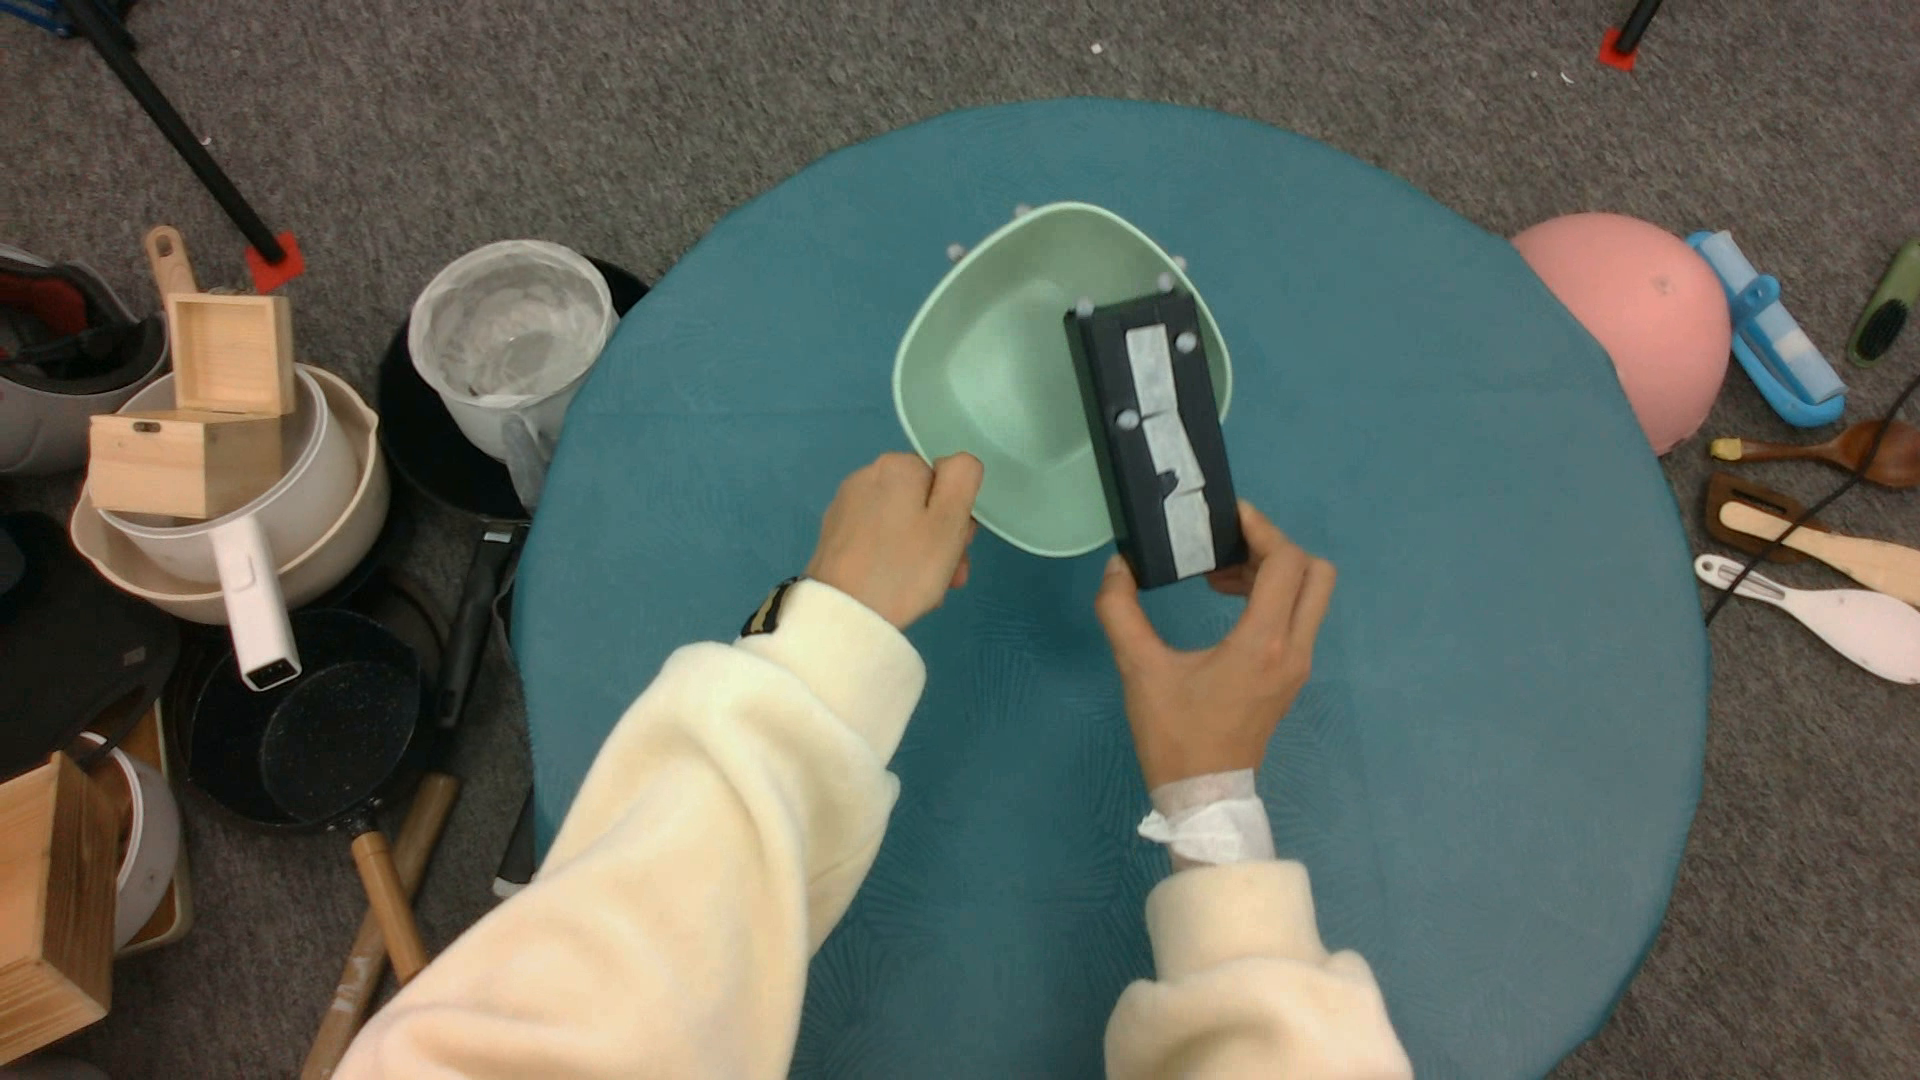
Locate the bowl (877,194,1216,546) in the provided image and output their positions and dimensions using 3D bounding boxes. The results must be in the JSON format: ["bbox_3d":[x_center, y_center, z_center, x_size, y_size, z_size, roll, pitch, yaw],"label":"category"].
[{"bbox_3d":[0.034,-0.076,0.618,0.151,0.058,0.151,-2,101,-12],"label":"bowl"}]

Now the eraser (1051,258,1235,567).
[{"bbox_3d":[0.078,-0.054,0.590,0.053,0.030,0.125,-18,107,-7],"label":"eraser"}]
